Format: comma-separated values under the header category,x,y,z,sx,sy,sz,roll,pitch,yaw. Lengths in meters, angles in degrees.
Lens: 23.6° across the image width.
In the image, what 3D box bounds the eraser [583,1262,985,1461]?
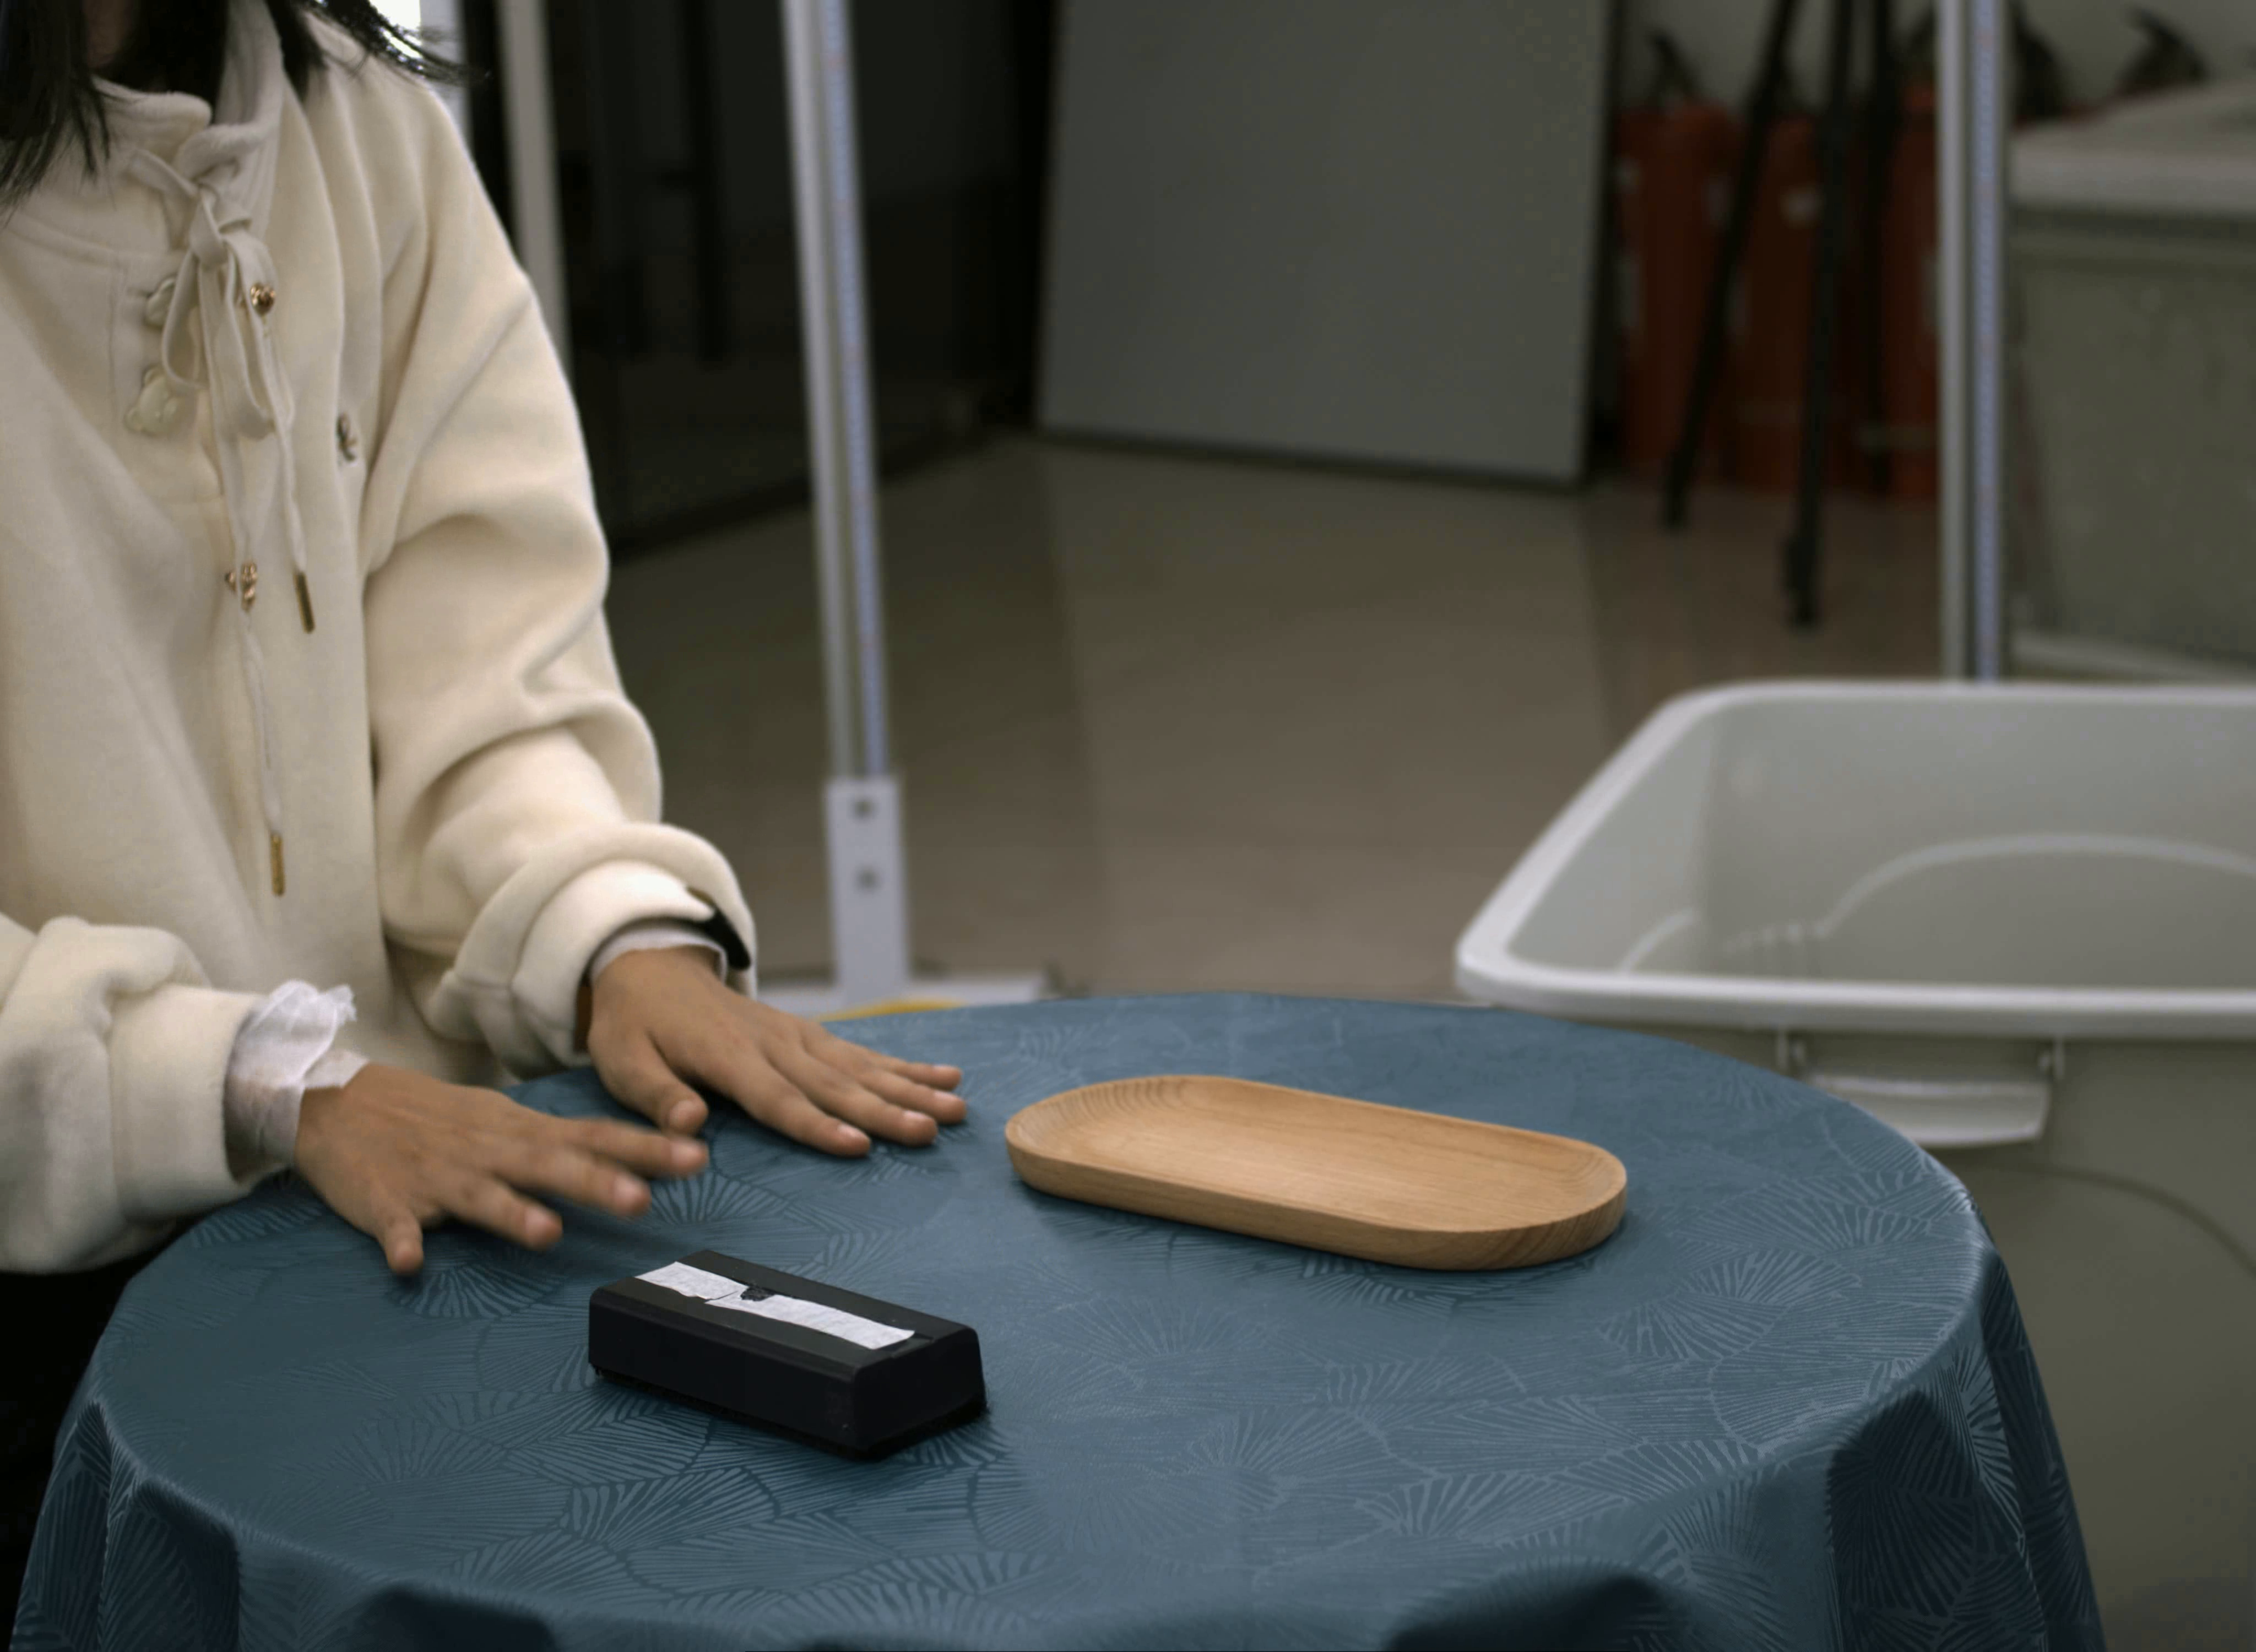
category,x,y,z,sx,sy,sz,roll,pitch,yaw
eraser,-0.102,0.157,1.594,0.052,0.031,0.127,-9,14,-43

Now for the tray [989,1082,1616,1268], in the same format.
category,x,y,z,sx,sy,sz,roll,pitch,yaw
tray,0.055,0.113,1.753,0.233,0.020,0.100,5,16,39
